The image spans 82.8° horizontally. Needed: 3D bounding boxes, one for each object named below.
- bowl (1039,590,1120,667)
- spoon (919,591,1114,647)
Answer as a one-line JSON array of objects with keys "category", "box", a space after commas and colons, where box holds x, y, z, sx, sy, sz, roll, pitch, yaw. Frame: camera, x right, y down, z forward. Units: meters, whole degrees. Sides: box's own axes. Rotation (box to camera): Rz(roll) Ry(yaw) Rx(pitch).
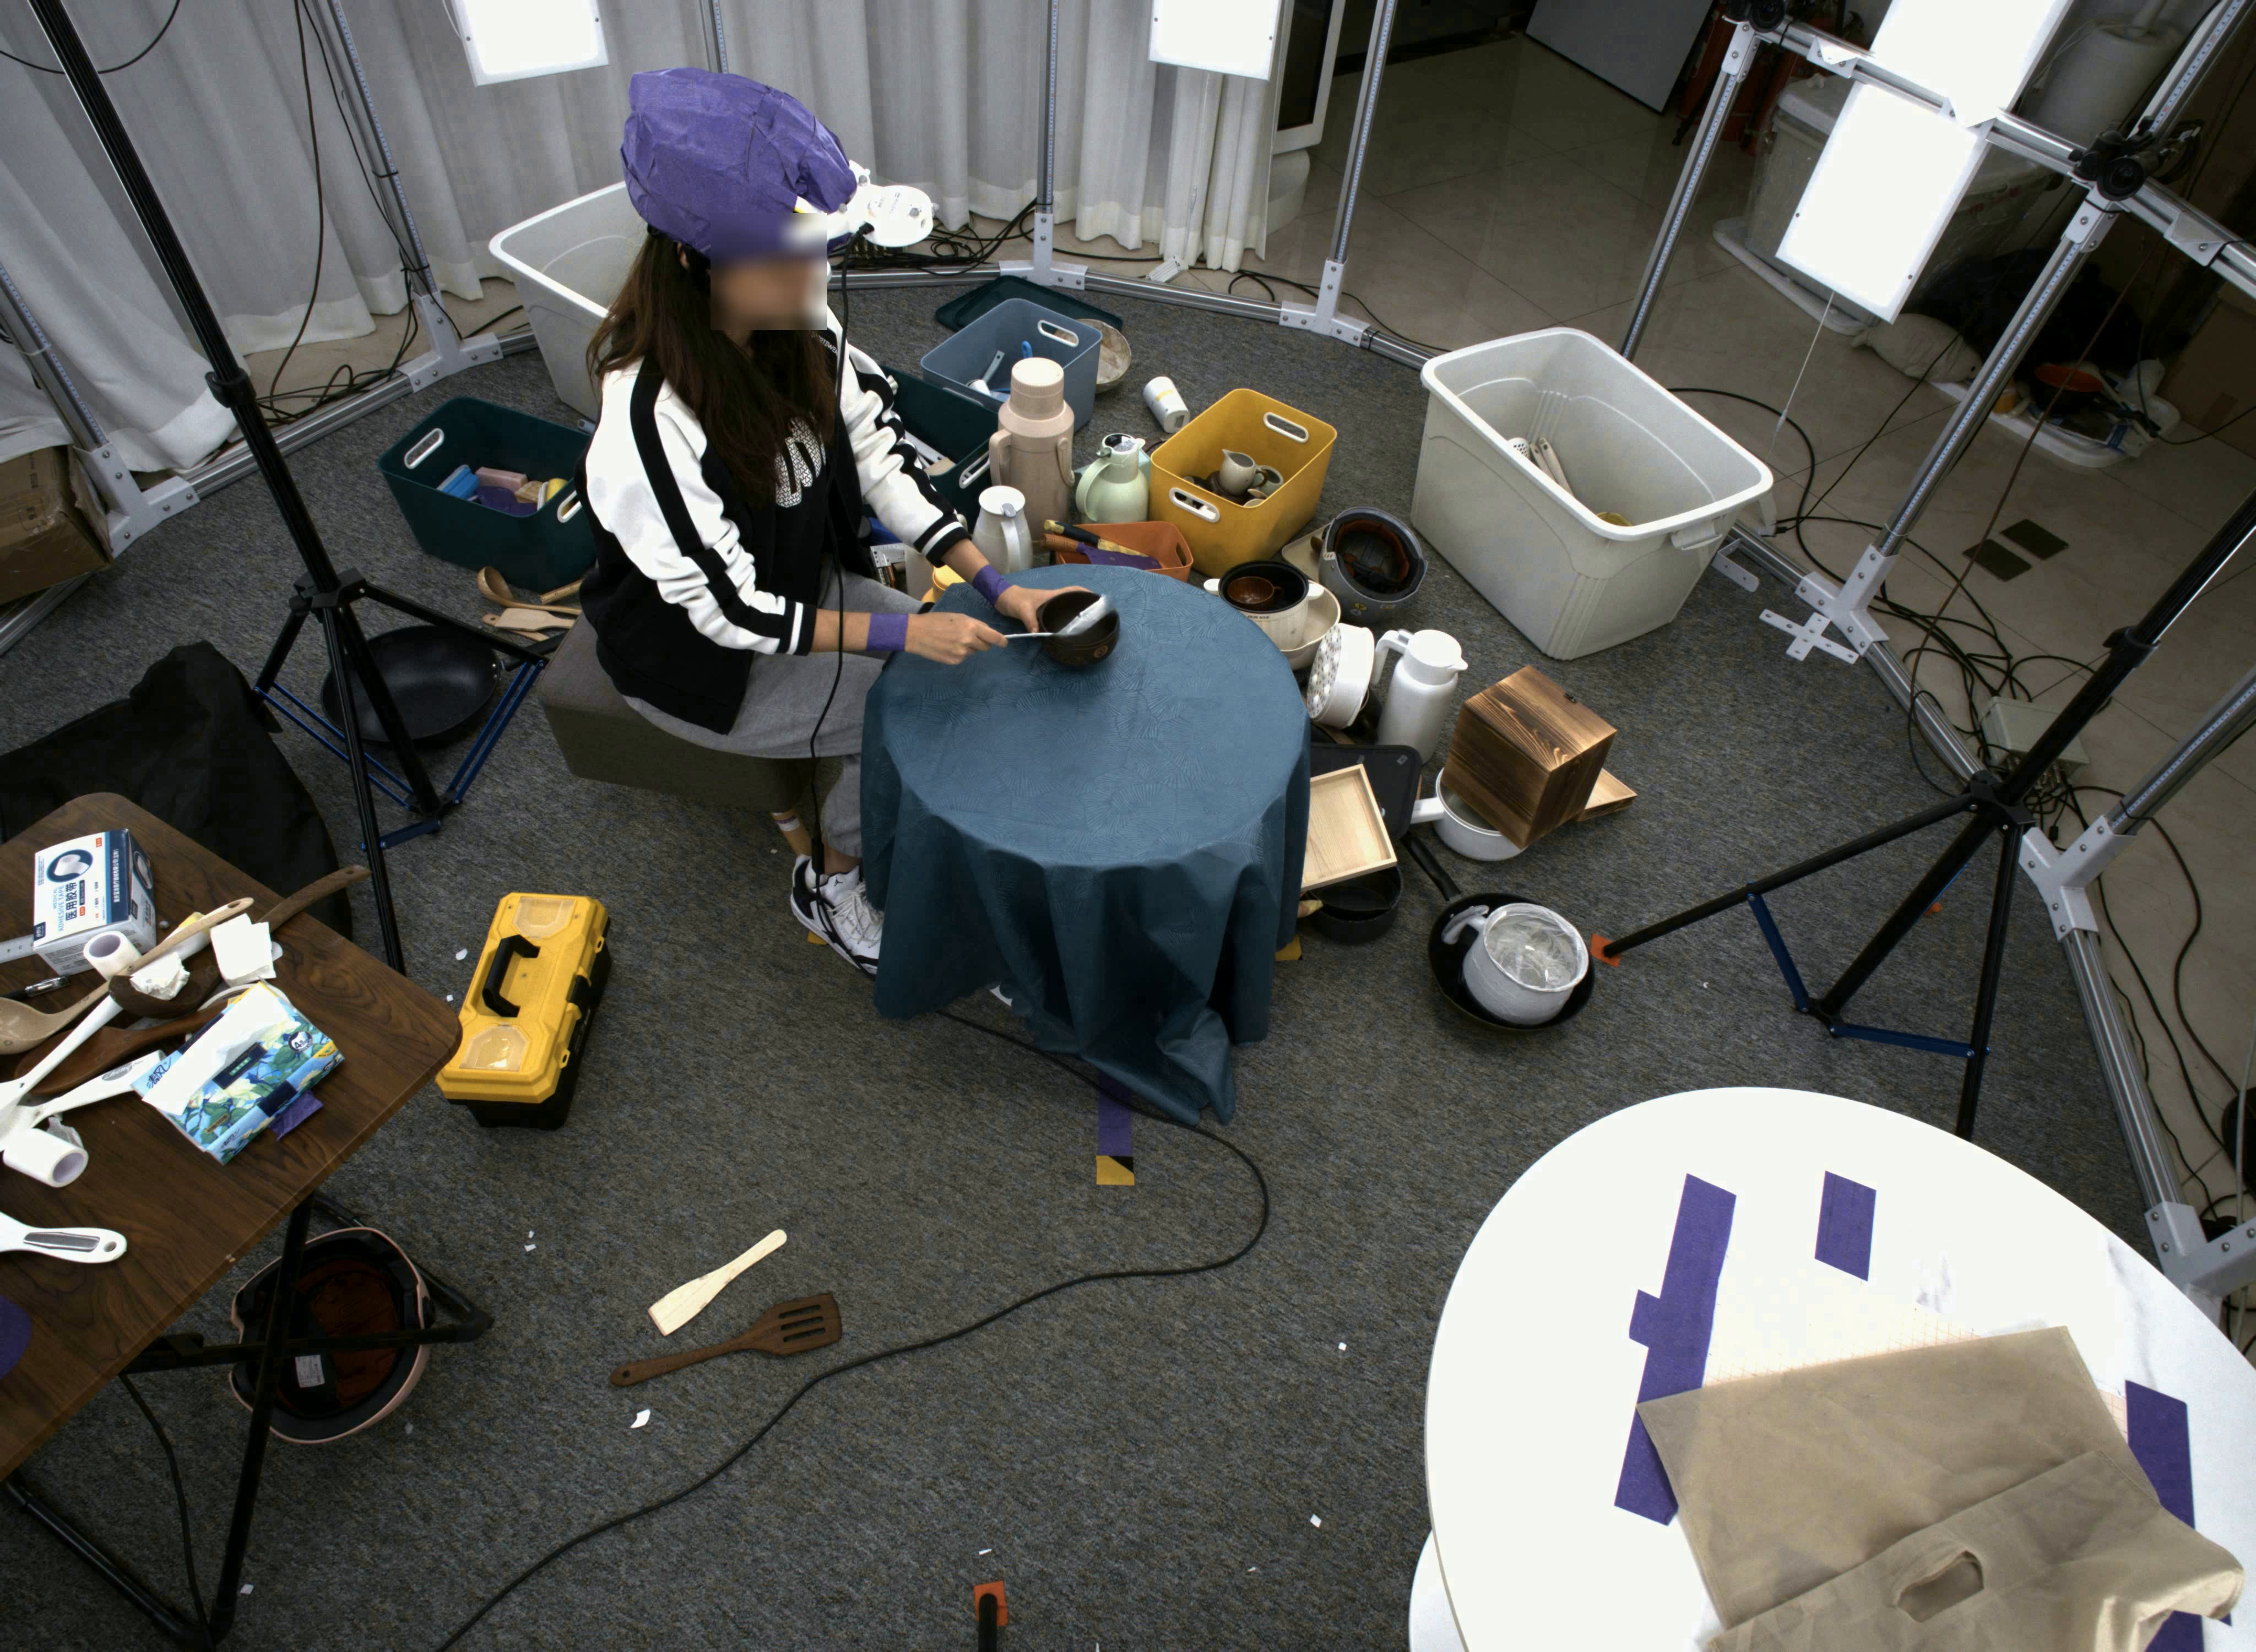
[{"category": "bowl", "box": [-0.071, -0.277, 1.858, 0.118, 0.068, 0.121, 2, 50, -2]}, {"category": "spoon", "box": [-0.156, -0.289, 1.810, 0.277, 0.100, 0.060, -4, 86, 3]}]
